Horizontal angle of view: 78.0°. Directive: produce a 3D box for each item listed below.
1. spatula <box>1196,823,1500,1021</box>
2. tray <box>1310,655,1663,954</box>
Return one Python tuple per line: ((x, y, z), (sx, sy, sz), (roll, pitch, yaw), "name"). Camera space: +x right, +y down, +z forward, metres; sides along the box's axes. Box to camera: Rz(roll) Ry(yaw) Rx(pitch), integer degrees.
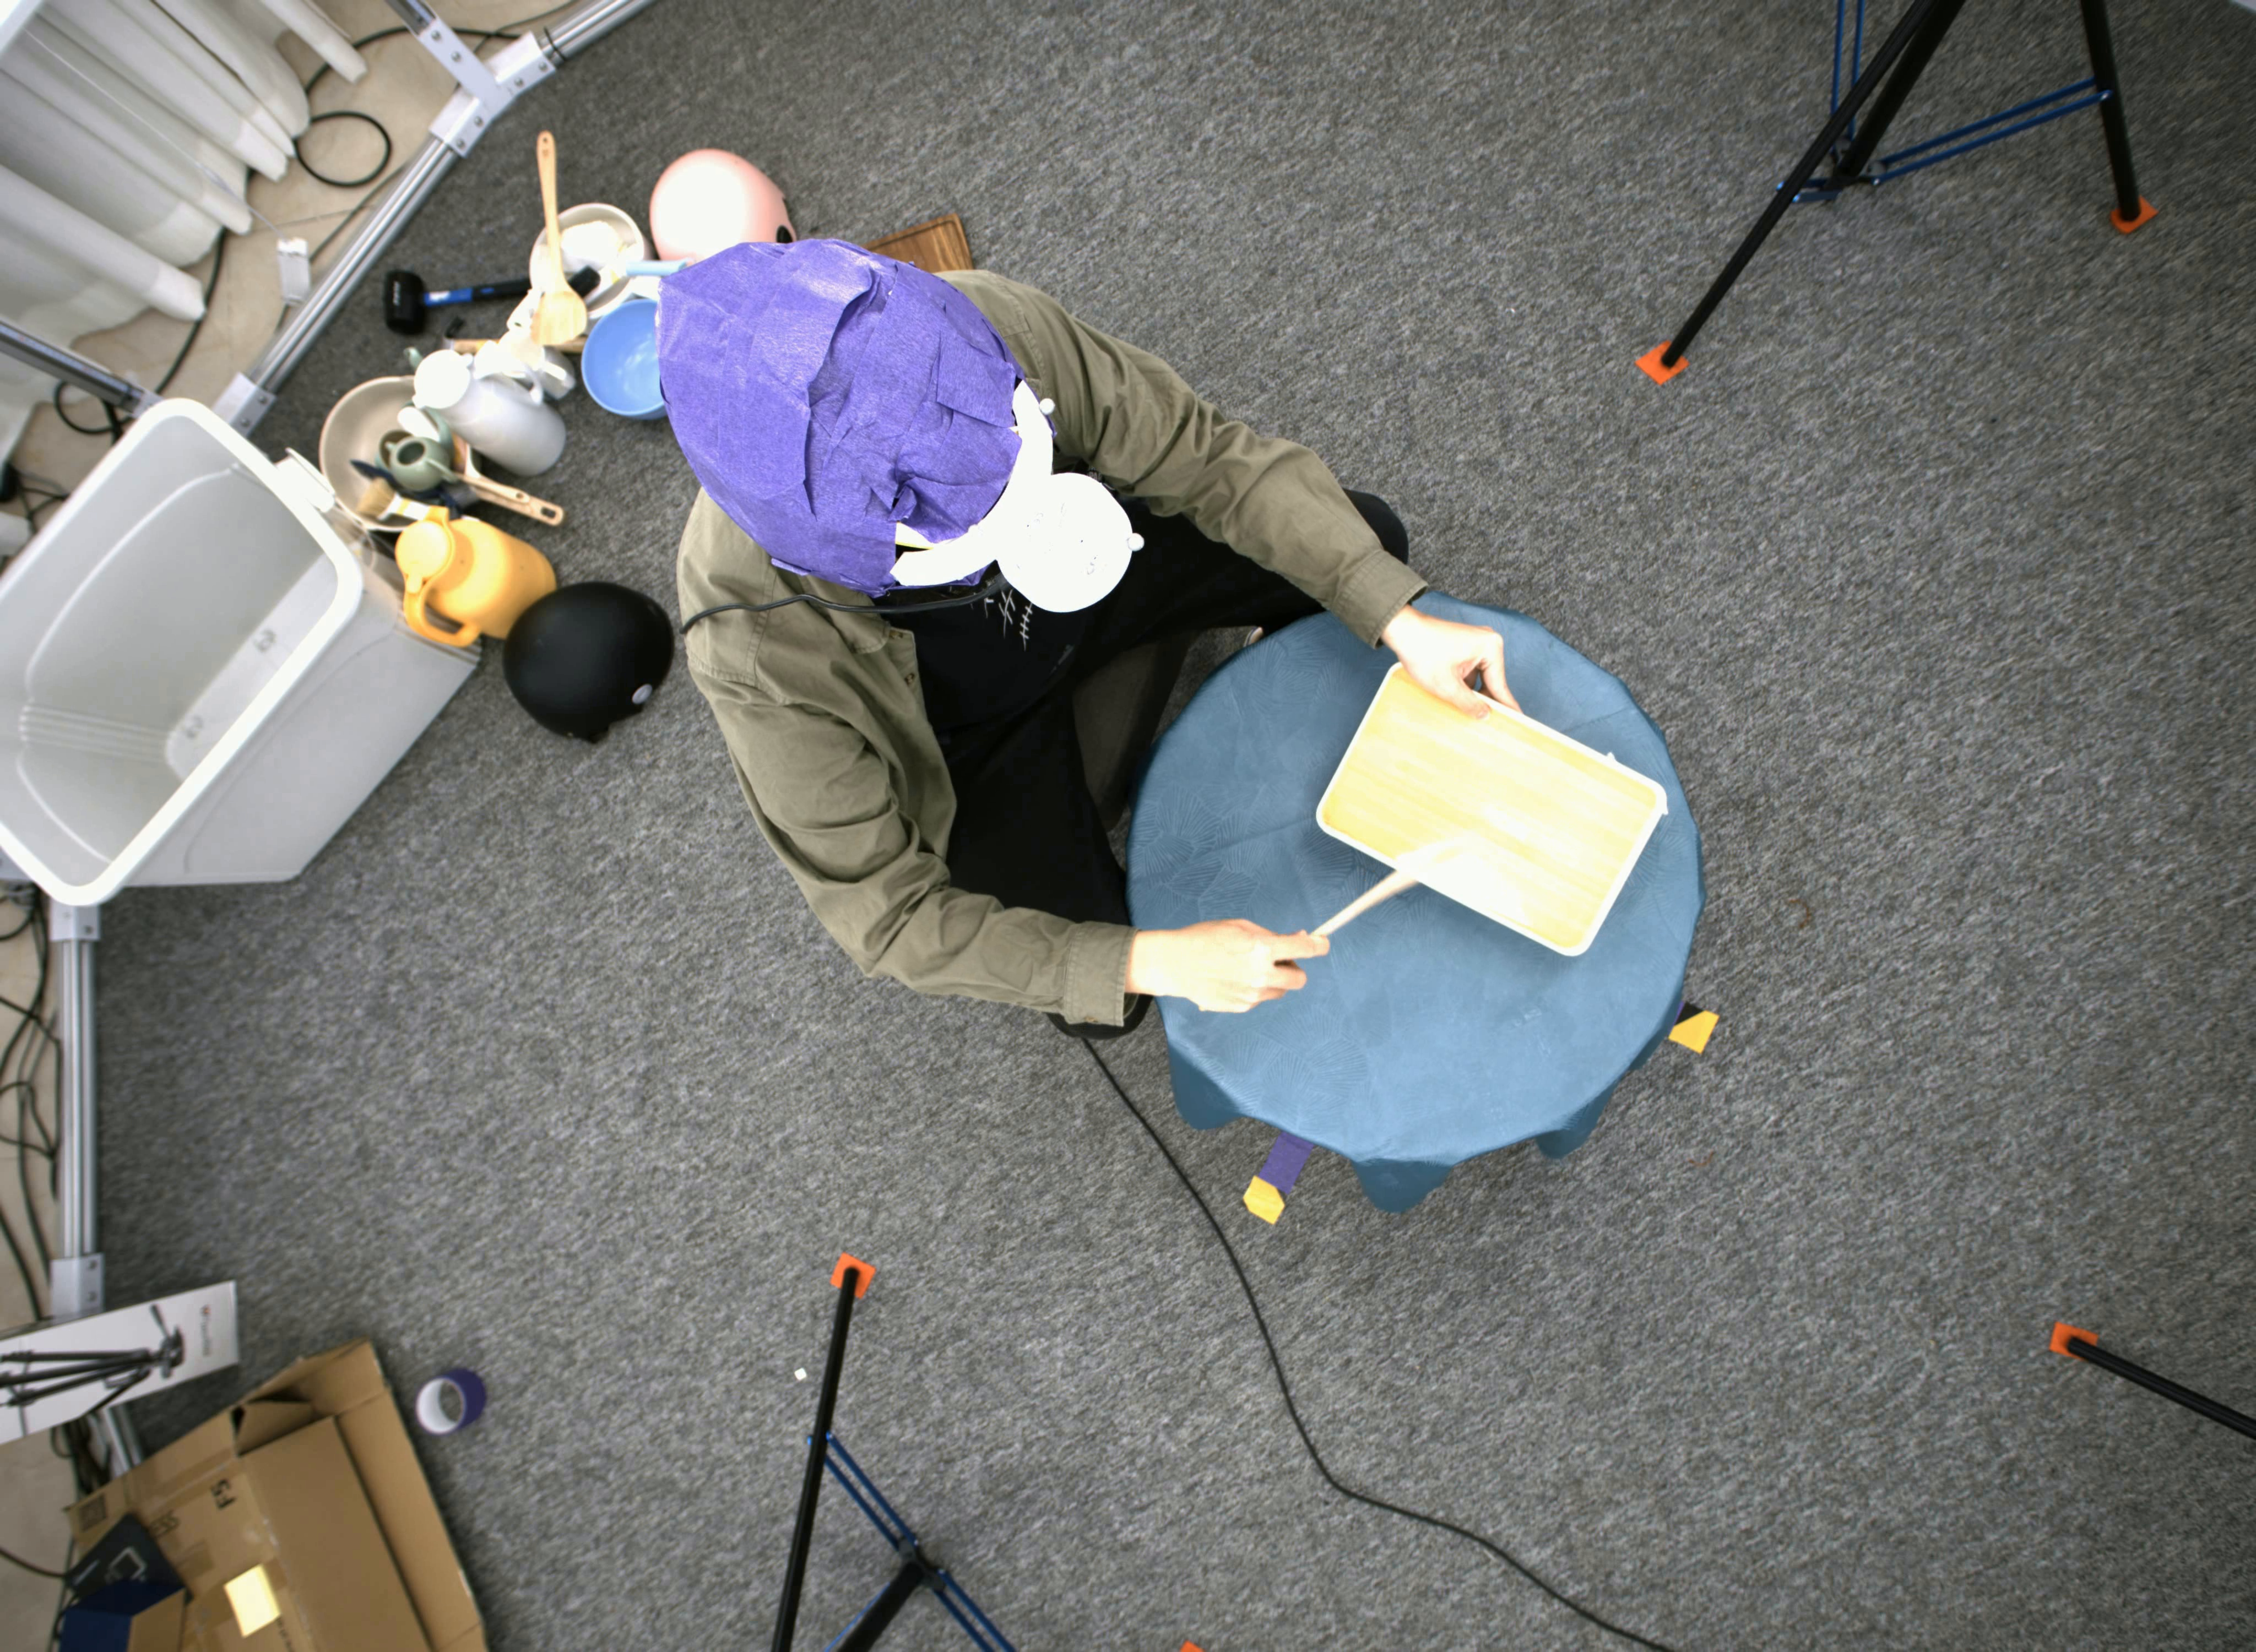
((0.196, 0.088, 1.262), (0.330, 0.080, 0.016), (-37, 70, 12), "spatula")
((0.350, -0.024, 1.354), (0.300, 0.027, 0.193), (28, 99, 5), "tray")
